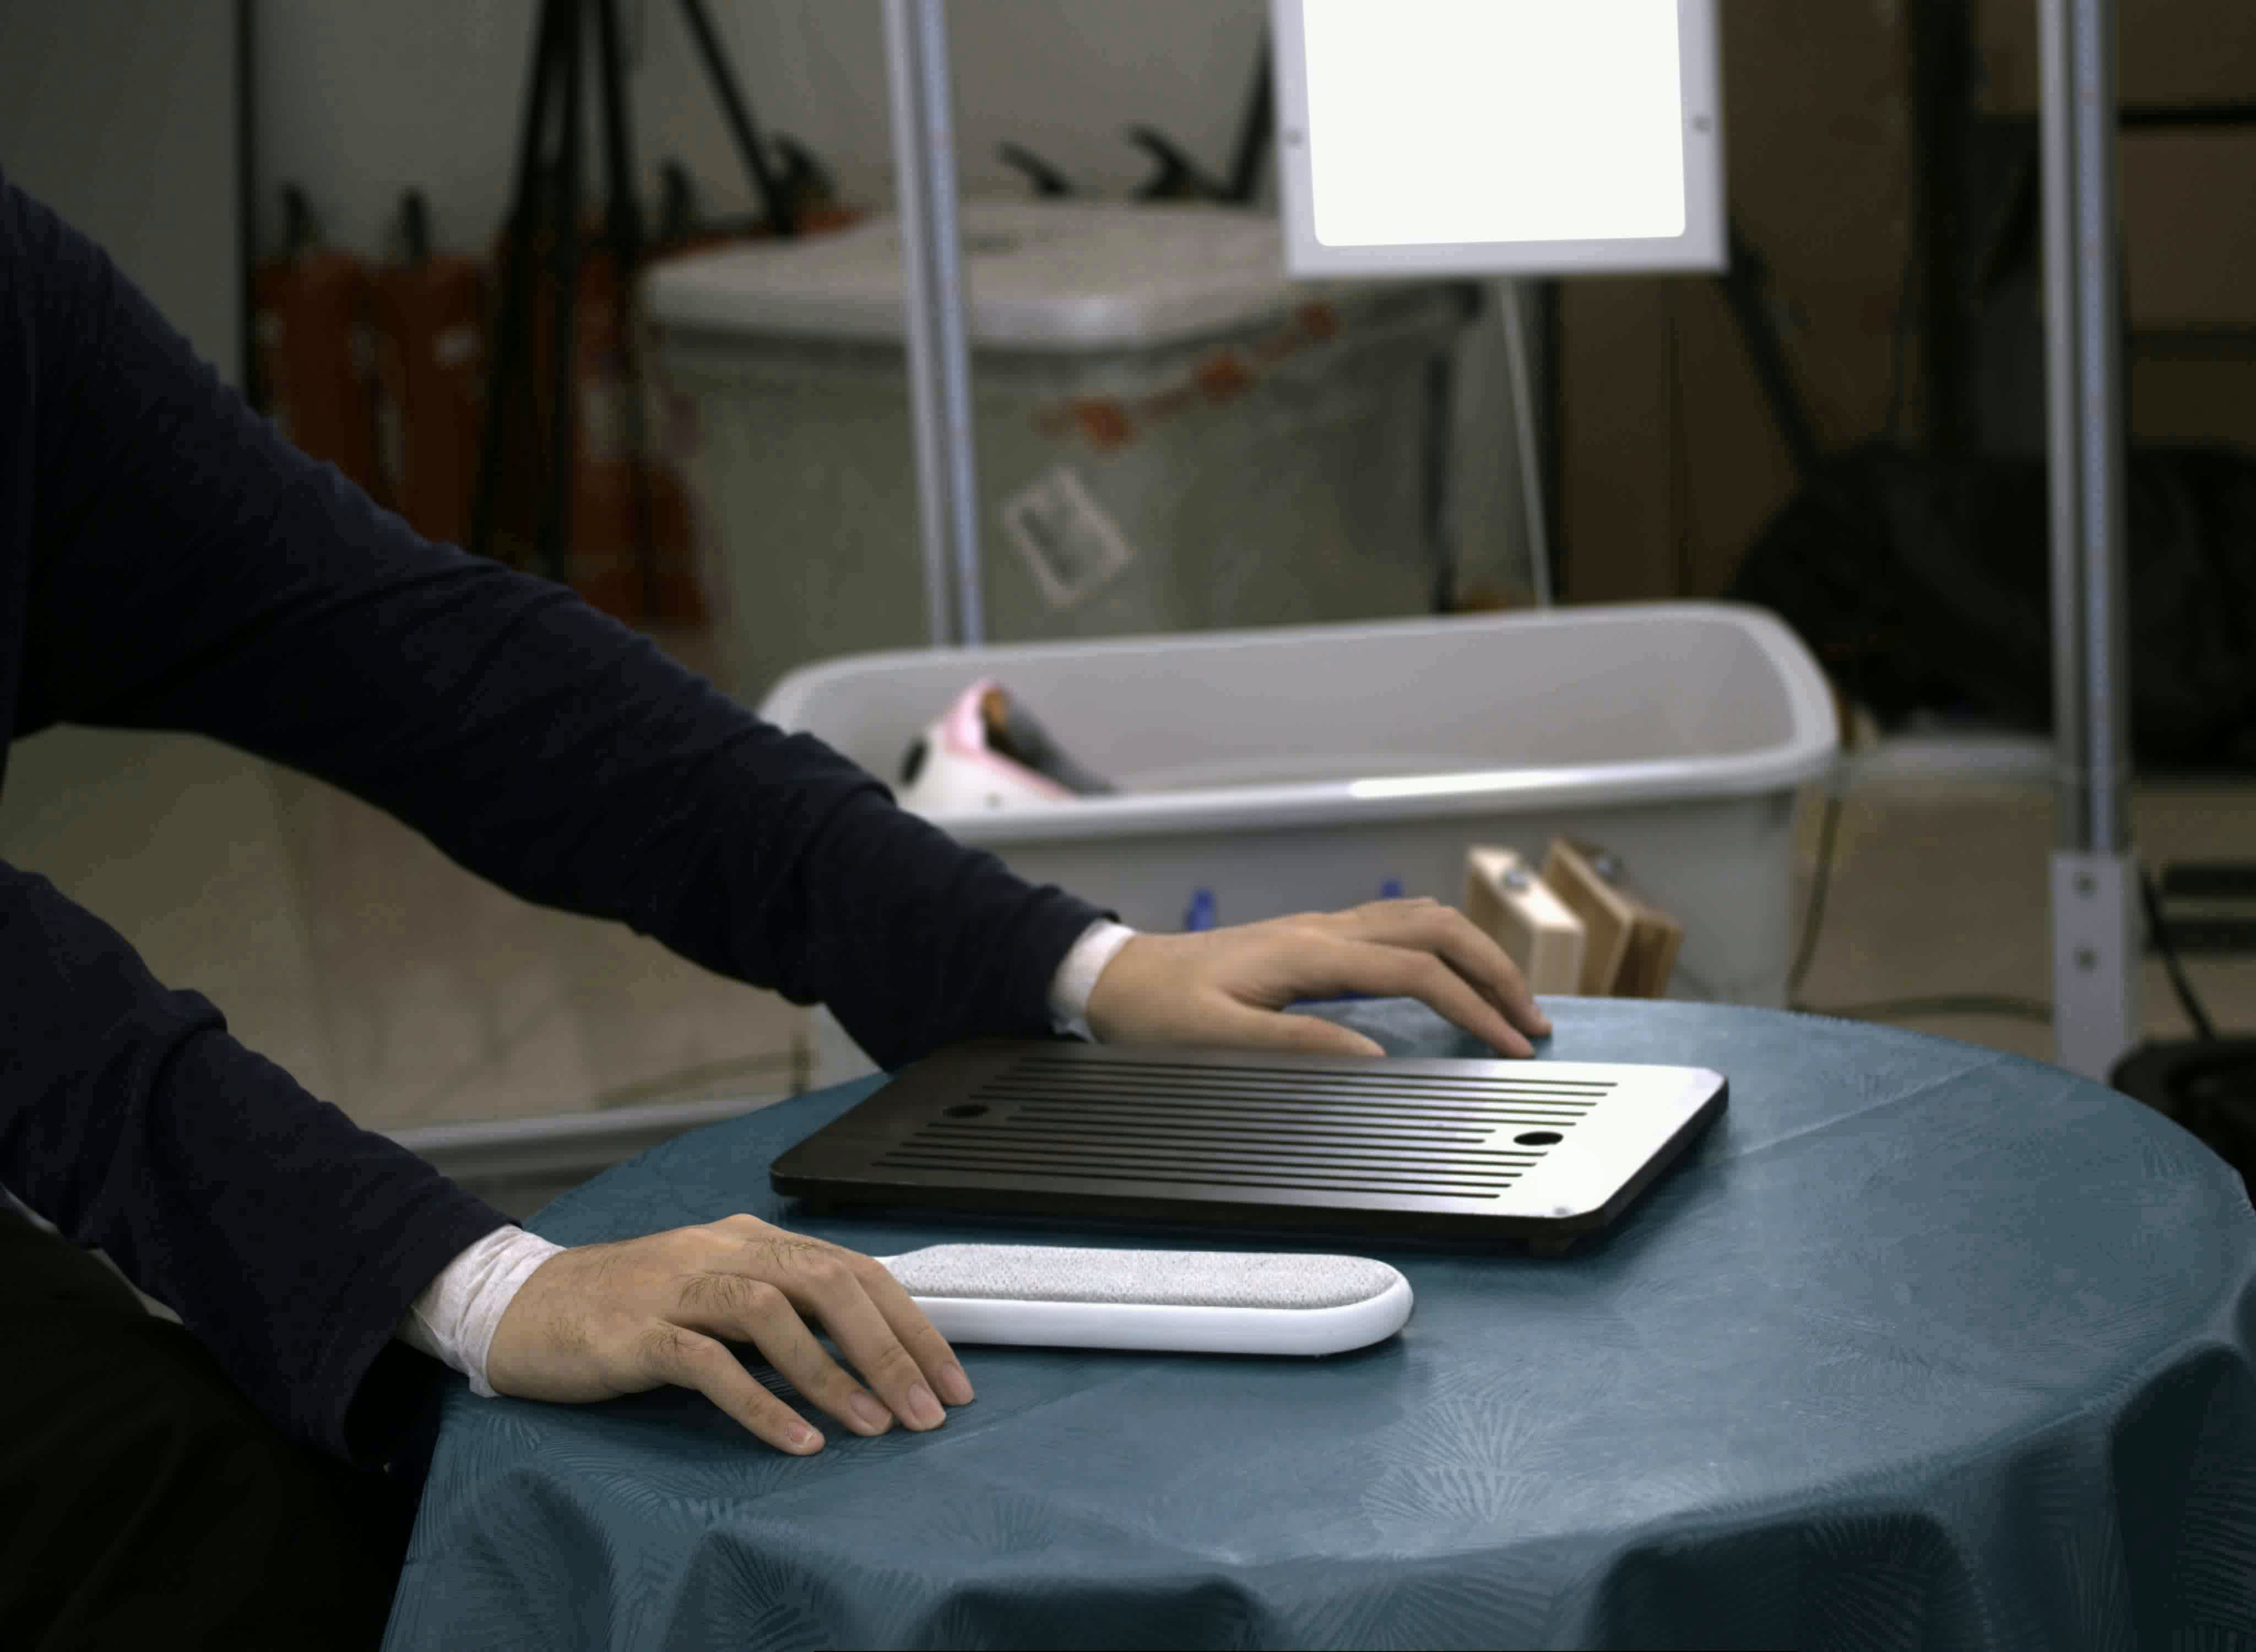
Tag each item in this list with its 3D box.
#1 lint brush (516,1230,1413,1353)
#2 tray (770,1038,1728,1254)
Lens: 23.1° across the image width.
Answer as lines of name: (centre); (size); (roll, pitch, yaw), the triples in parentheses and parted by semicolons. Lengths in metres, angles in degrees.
lint brush: (-0.057, 0.148, 1.782); (0.313, 0.021, 0.059); (0, 20, 22)
tray: (0.043, 0.110, 1.920); (0.311, 0.019, 0.167); (1, 15, 25)
